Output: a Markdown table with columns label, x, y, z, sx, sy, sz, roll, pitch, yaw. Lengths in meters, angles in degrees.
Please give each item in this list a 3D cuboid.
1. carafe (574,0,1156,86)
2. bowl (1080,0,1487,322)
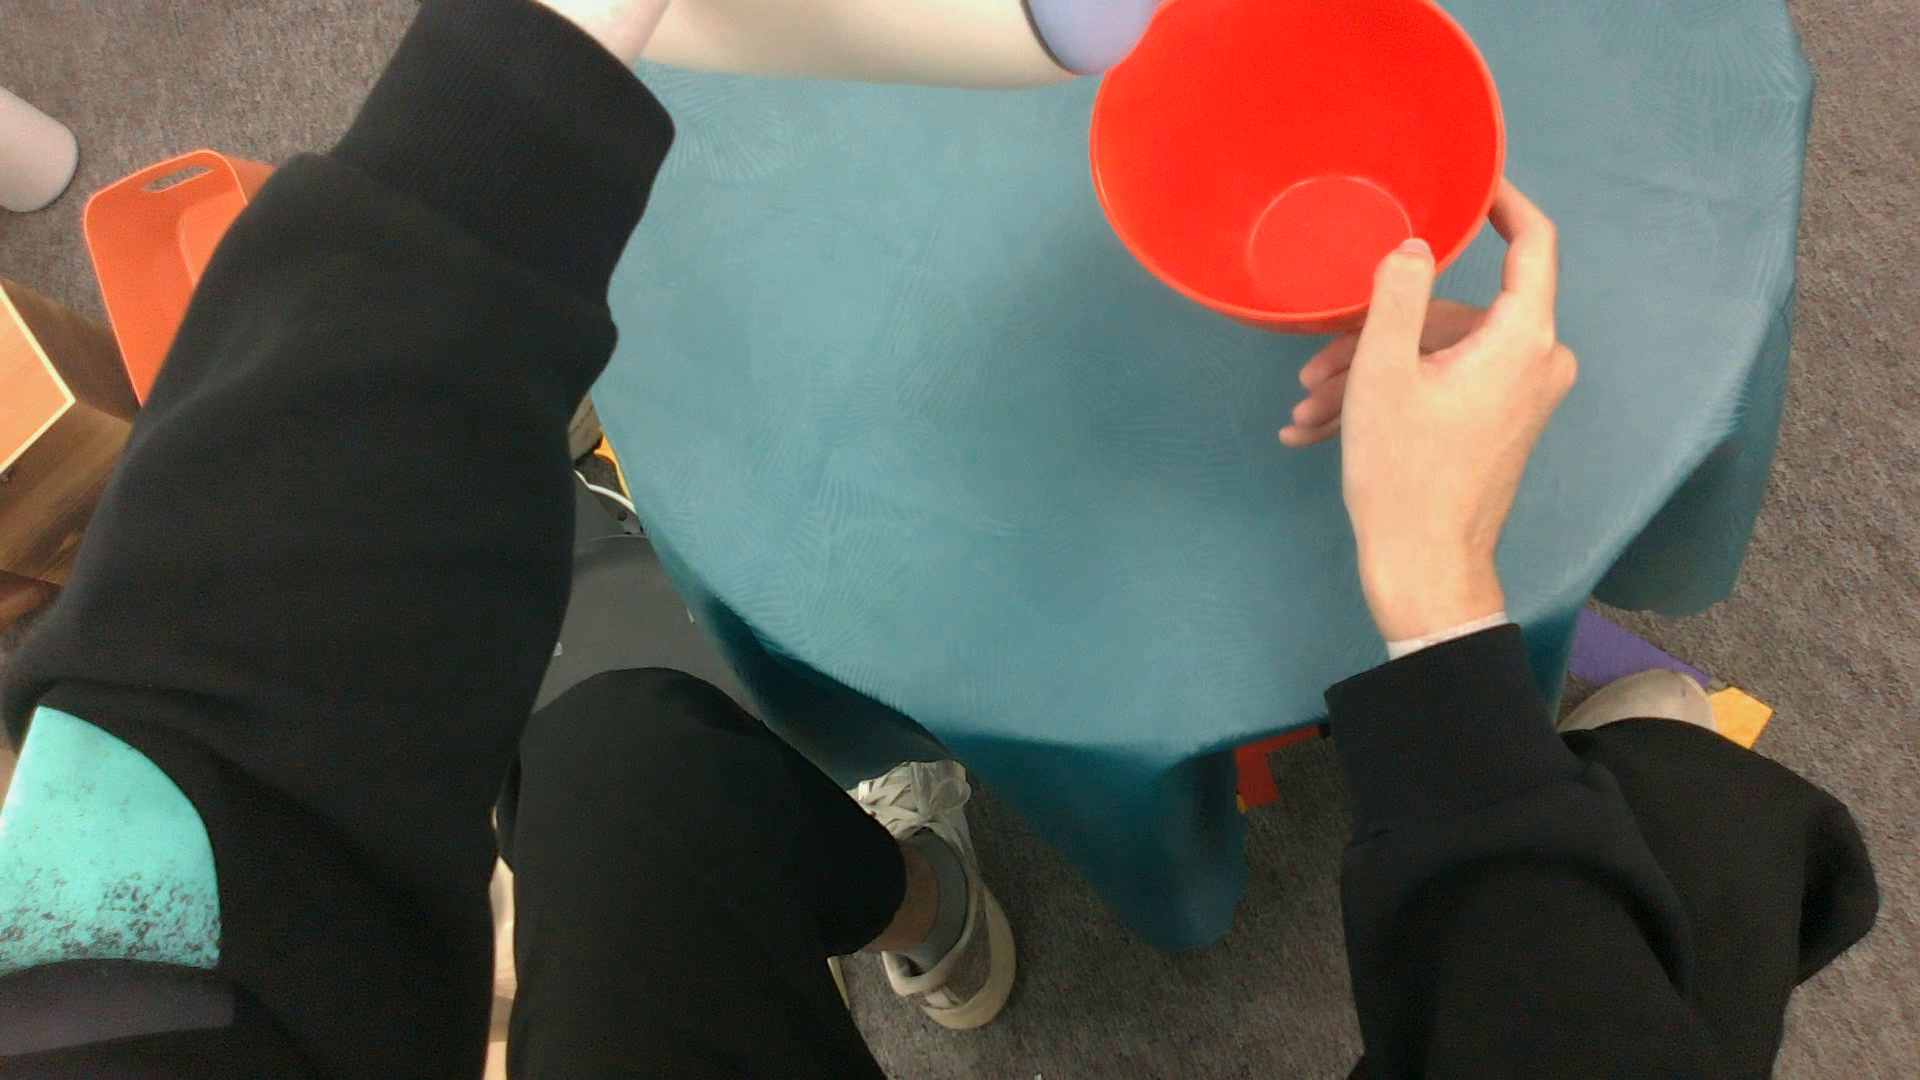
| label | x | y | z | sx | sy | sz | roll | pitch | yaw |
| --- | --- | --- | --- | --- | --- | --- | --- | --- | --- |
| carafe | -0.042 | -0.218 | 0.413 | 0.182 | 0.191 | 0.132 | 11 | 87 | 27 |
| bowl | 0.131 | -0.145 | 0.551 | 0.148 | 0.104 | 0.148 | -5 | 72 | 15 |
